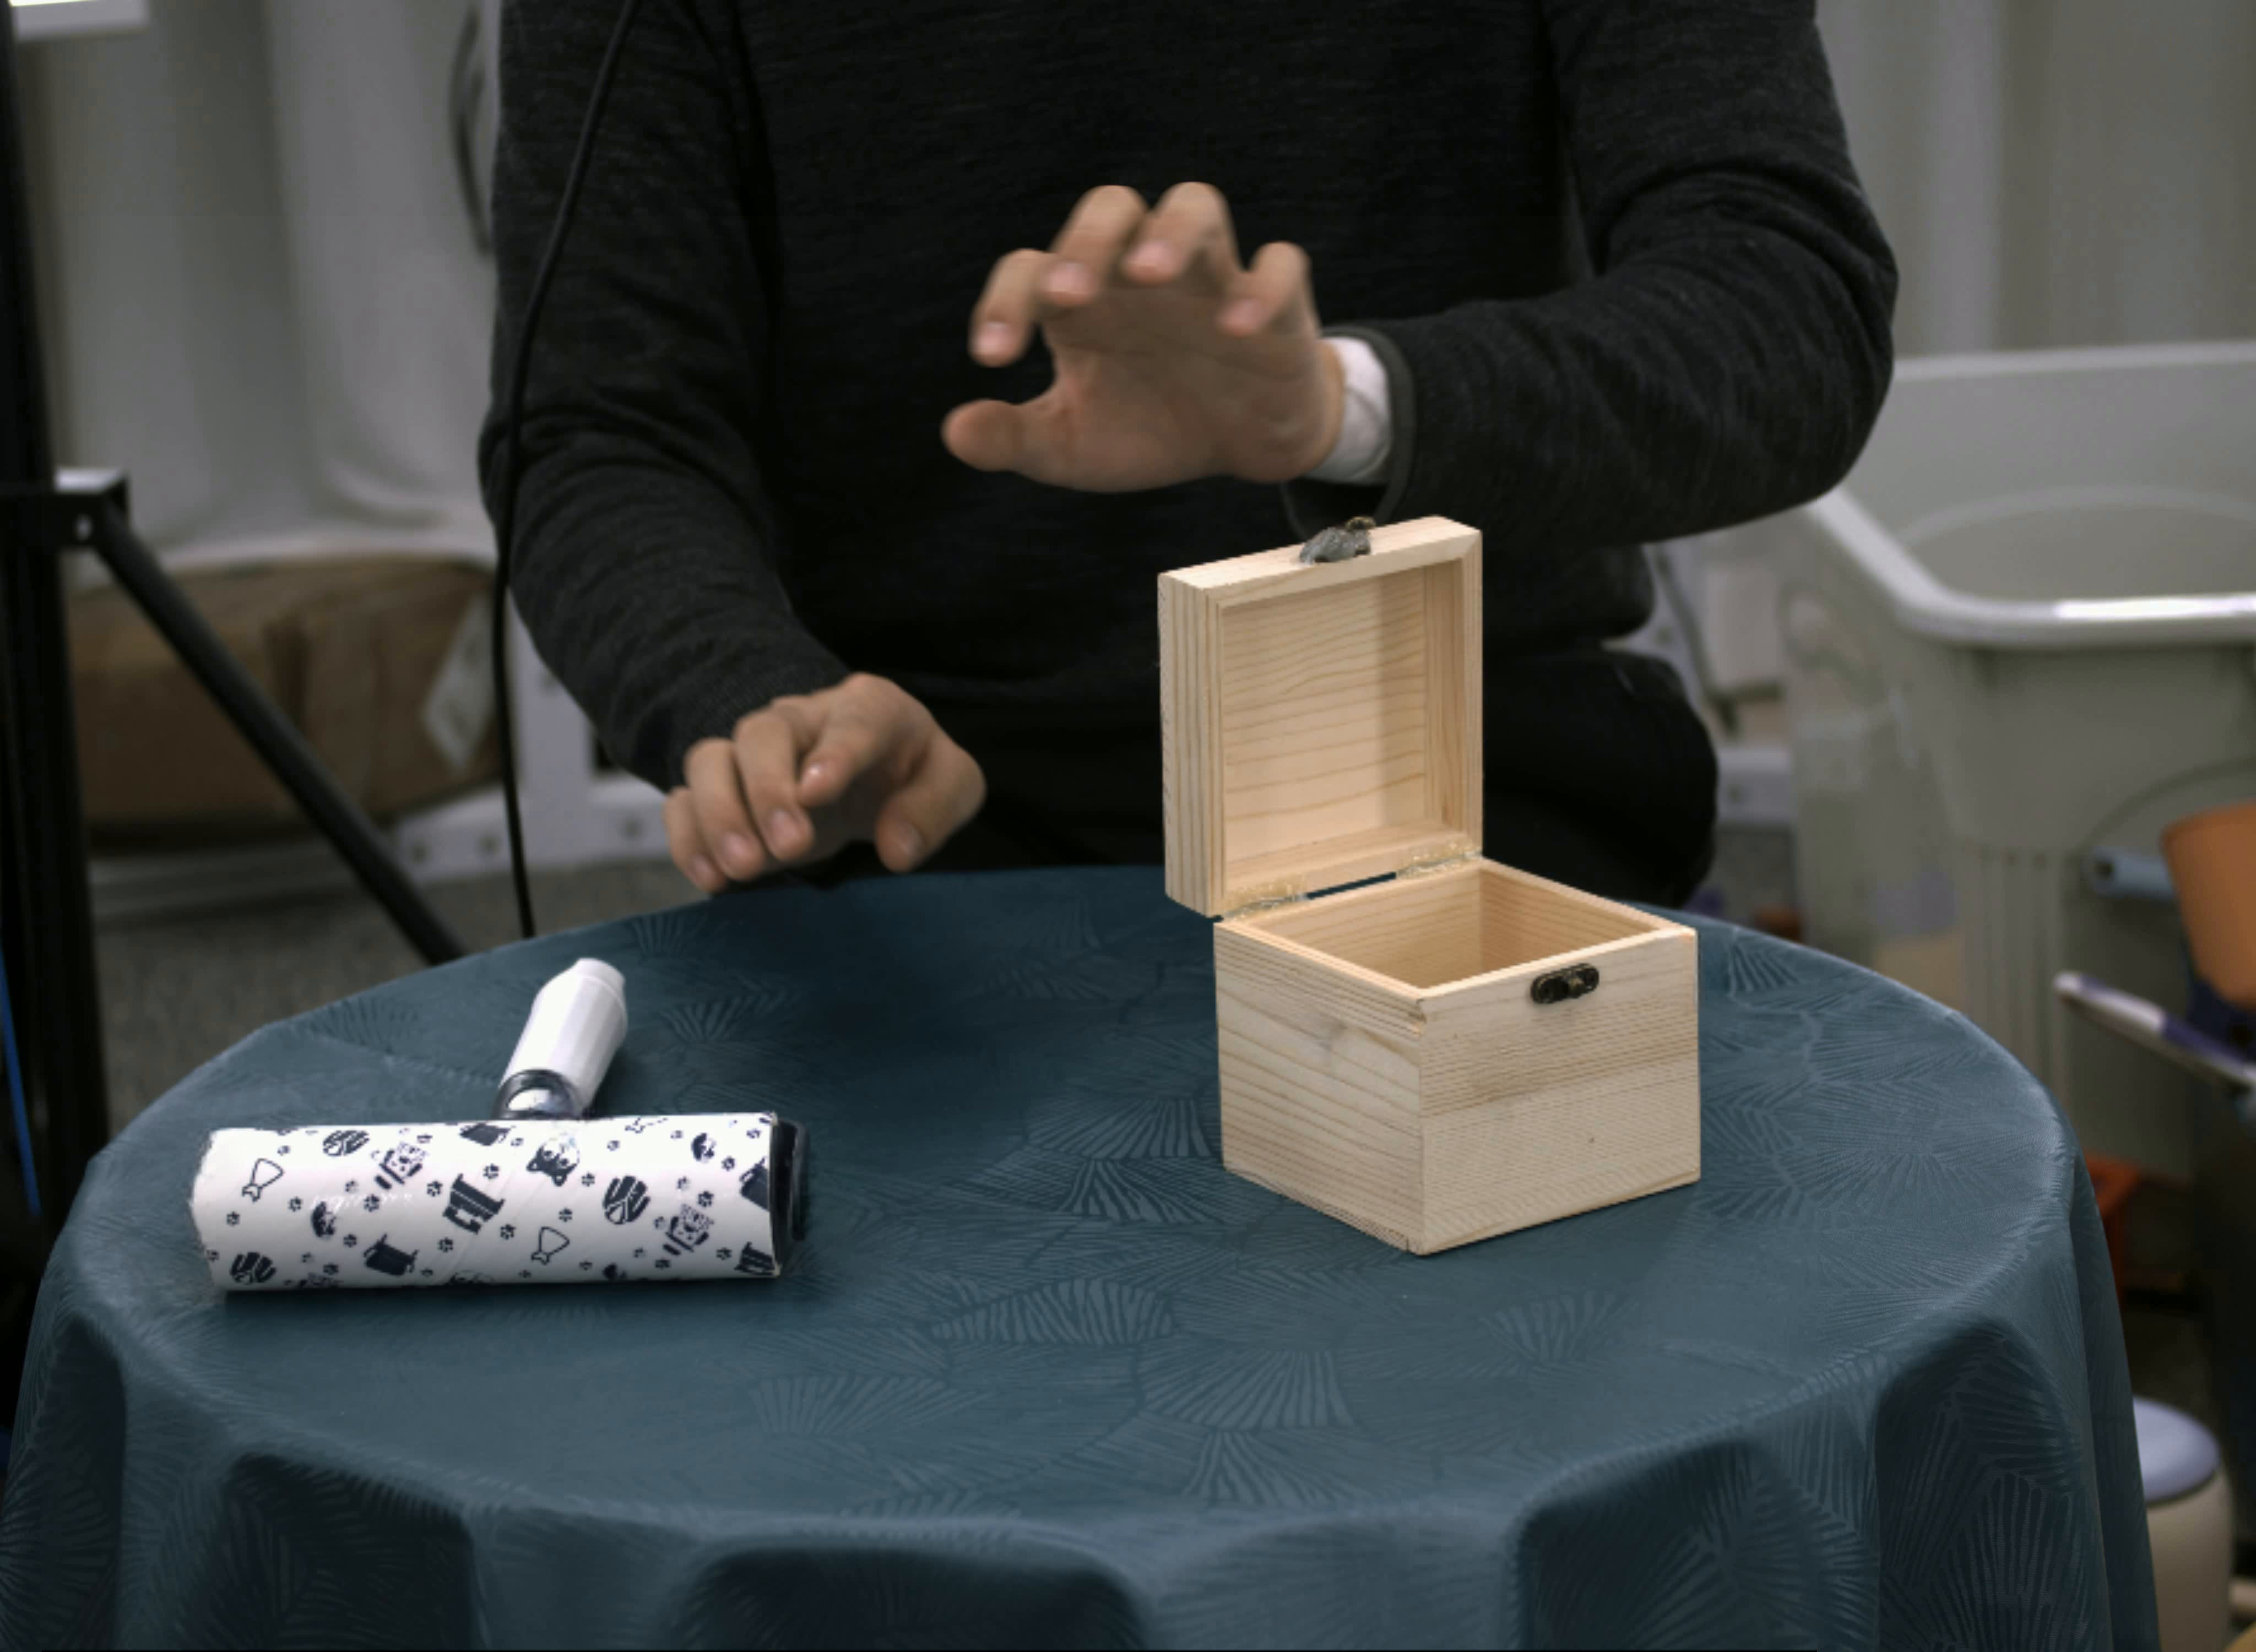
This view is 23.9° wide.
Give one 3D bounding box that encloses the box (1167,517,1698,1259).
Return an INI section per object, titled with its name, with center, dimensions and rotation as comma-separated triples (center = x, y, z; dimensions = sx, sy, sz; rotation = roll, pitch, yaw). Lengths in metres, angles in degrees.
[box]
center = 0.089, 0.014, 1.541
dimensions = 0.100, 0.184, 0.137
rotation = -10, 16, -32

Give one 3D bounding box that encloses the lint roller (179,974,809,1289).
[lint roller]
center = -0.178, 0.080, 1.606
dimensions = 0.176, 0.050, 0.248
rotation = -3, 15, 2
